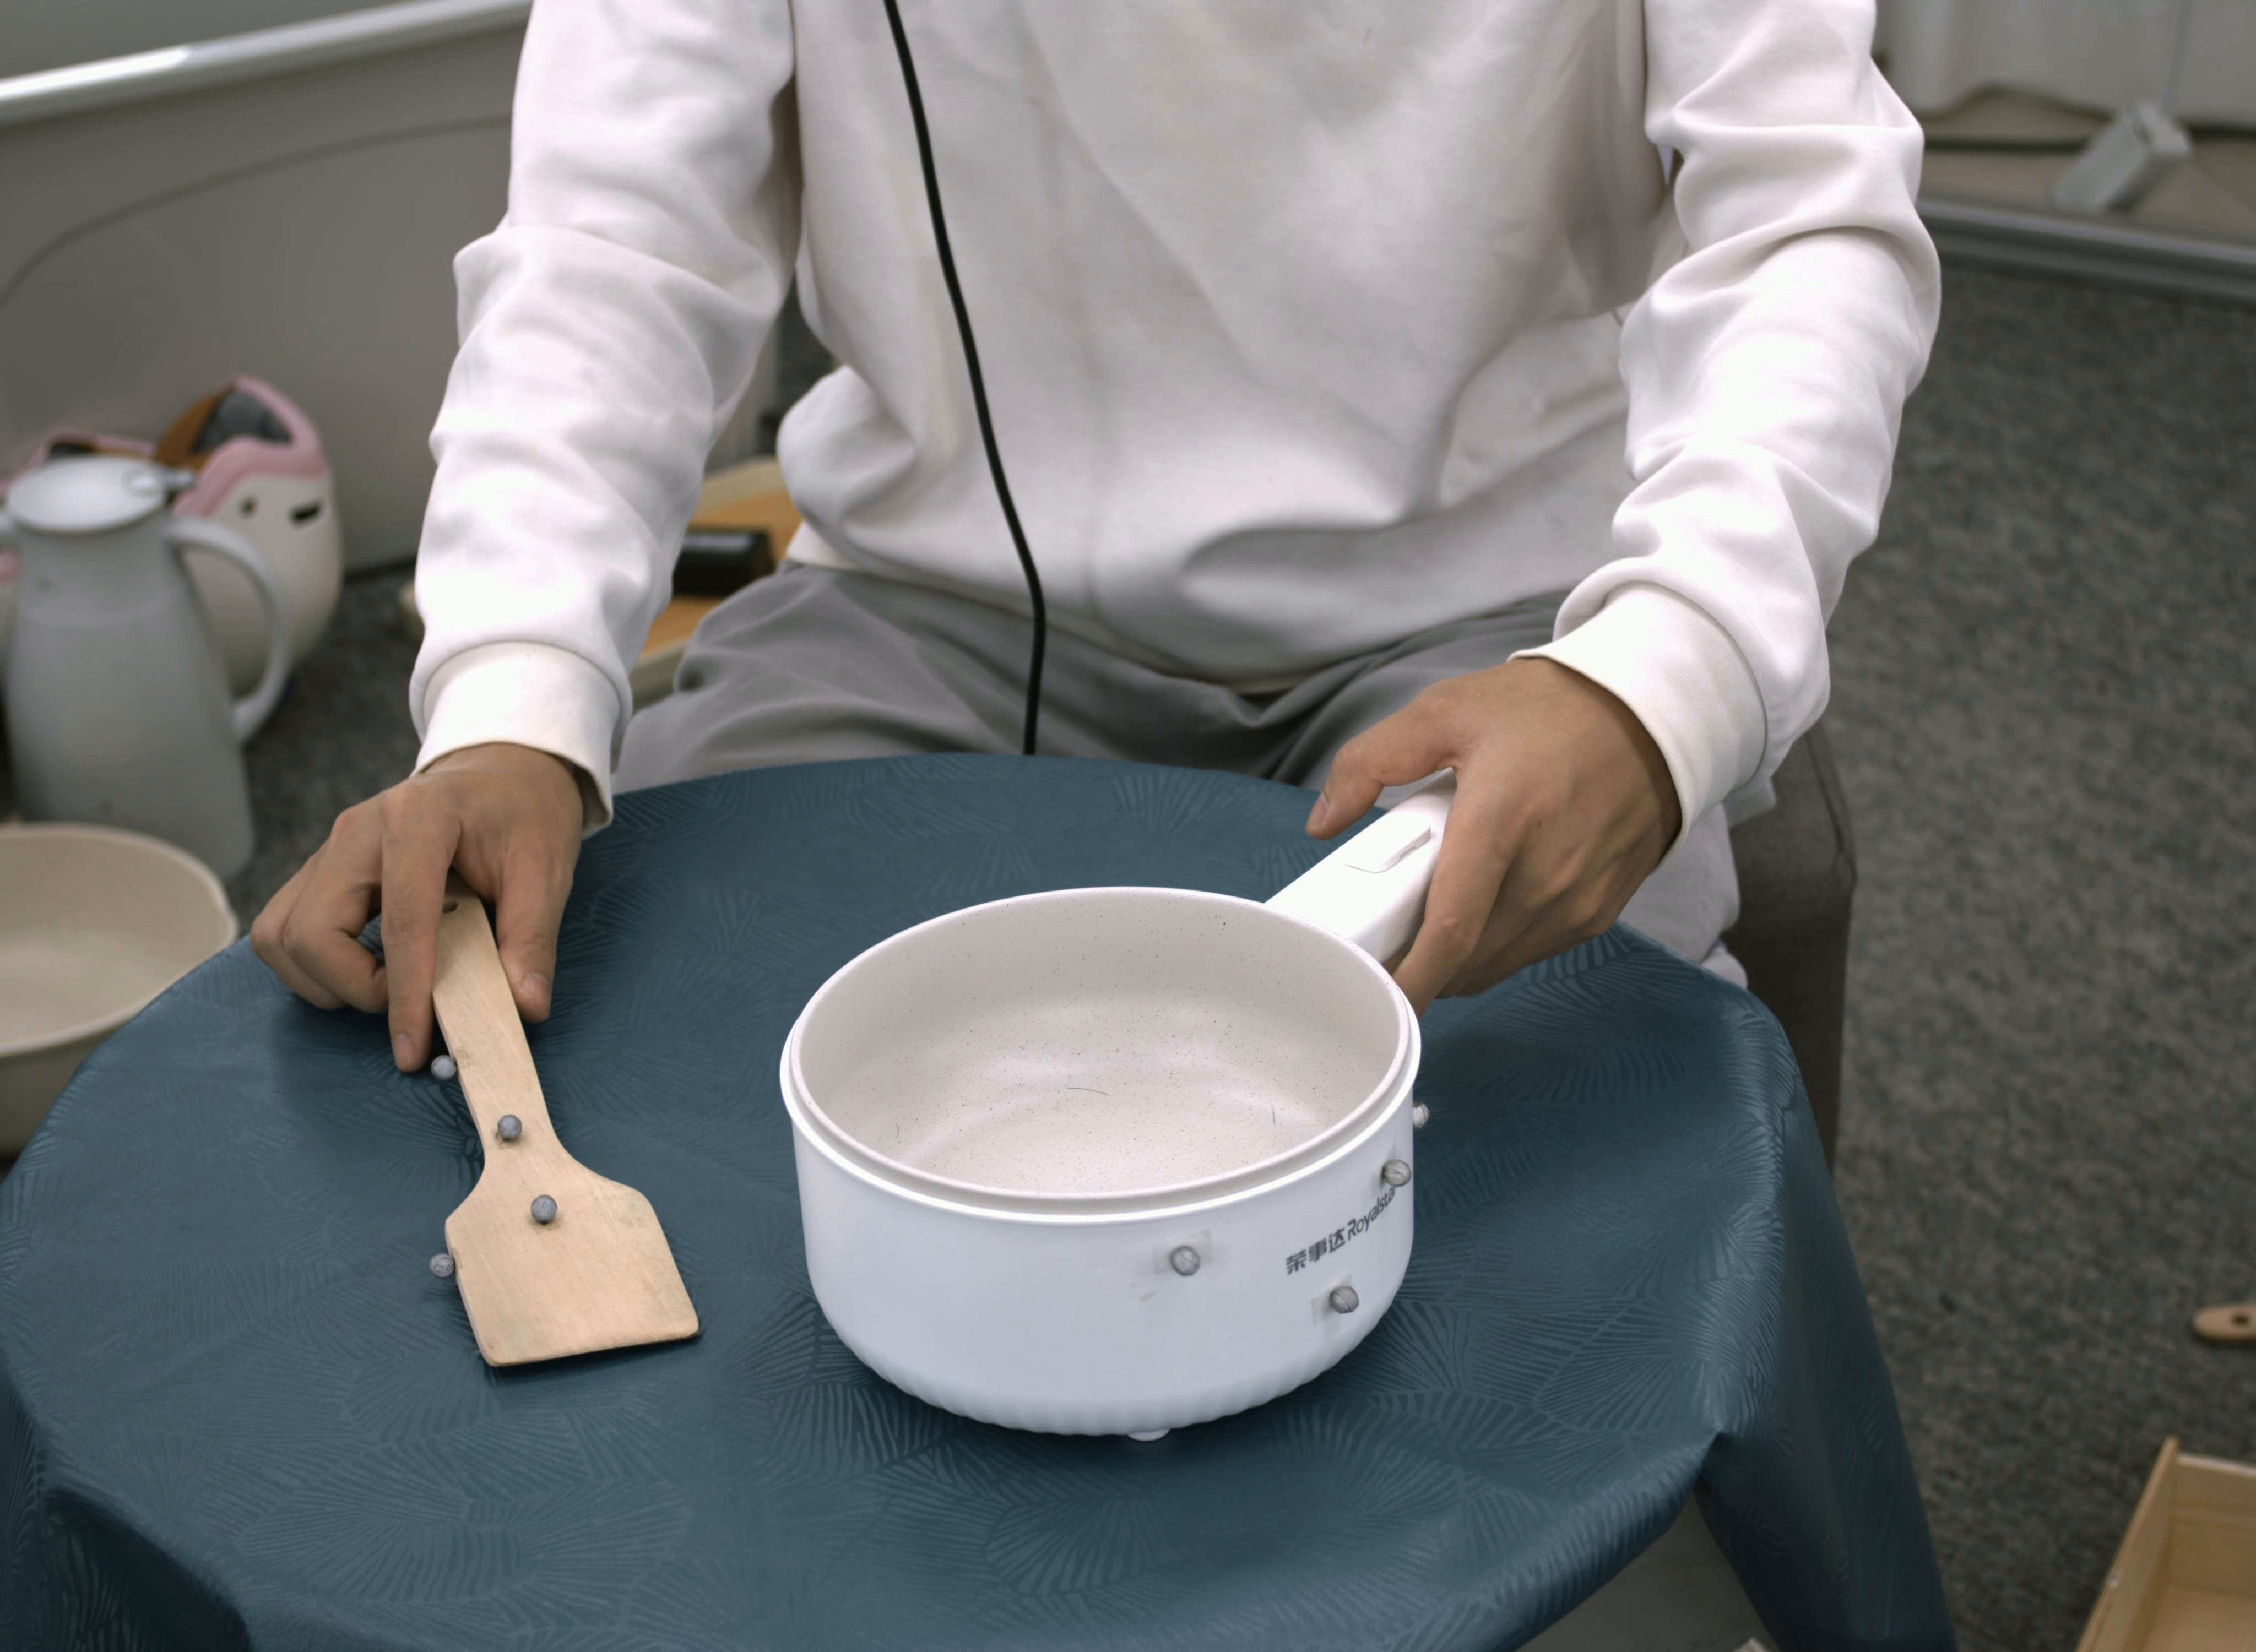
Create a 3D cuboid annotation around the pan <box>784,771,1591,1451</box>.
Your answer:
[{"bbox_3d":[0.040,0.089,1.838,0.200,0.101,0.360,12,28,34],"label":"pan"}]
